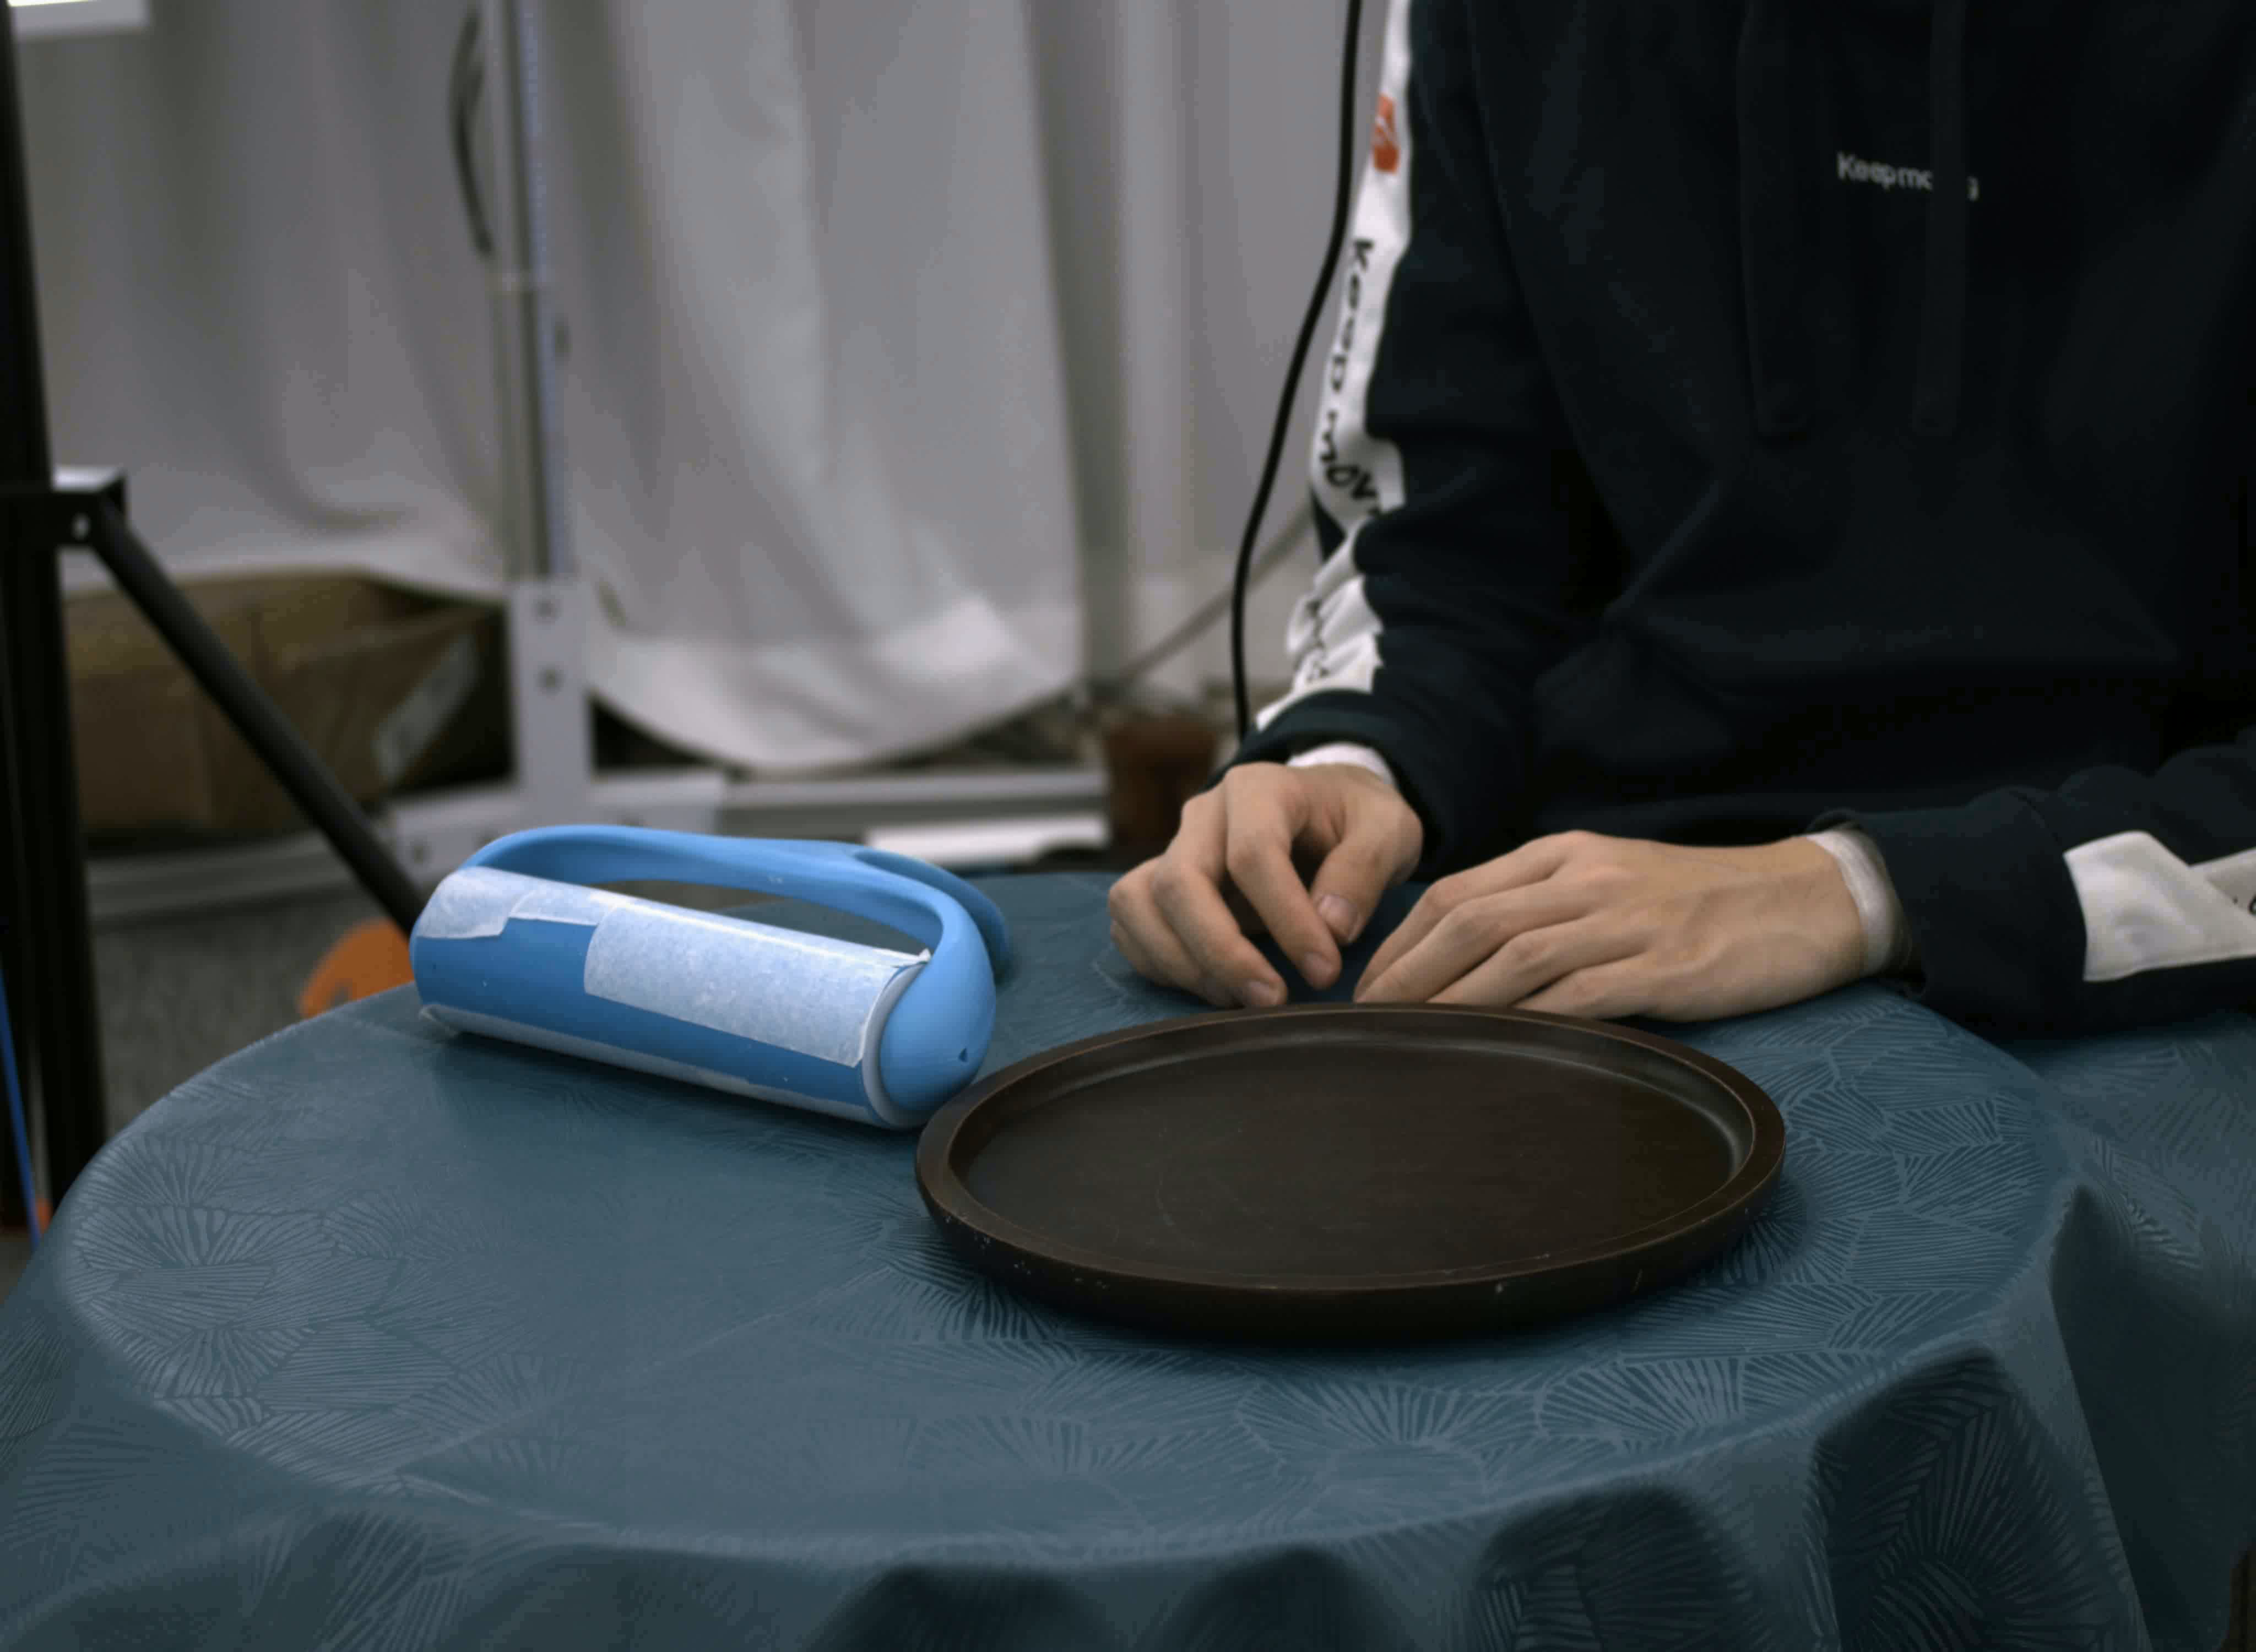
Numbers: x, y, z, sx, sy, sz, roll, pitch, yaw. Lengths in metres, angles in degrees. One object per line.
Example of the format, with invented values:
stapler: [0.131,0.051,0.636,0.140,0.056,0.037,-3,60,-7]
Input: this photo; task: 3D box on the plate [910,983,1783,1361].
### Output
plate: [0.063,0.100,1.534,0.253,0.029,0.256,-4,17,0]

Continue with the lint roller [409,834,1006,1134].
lint roller: [-0.104,0.038,1.719,0.233,0.068,0.176,7,20,37]
